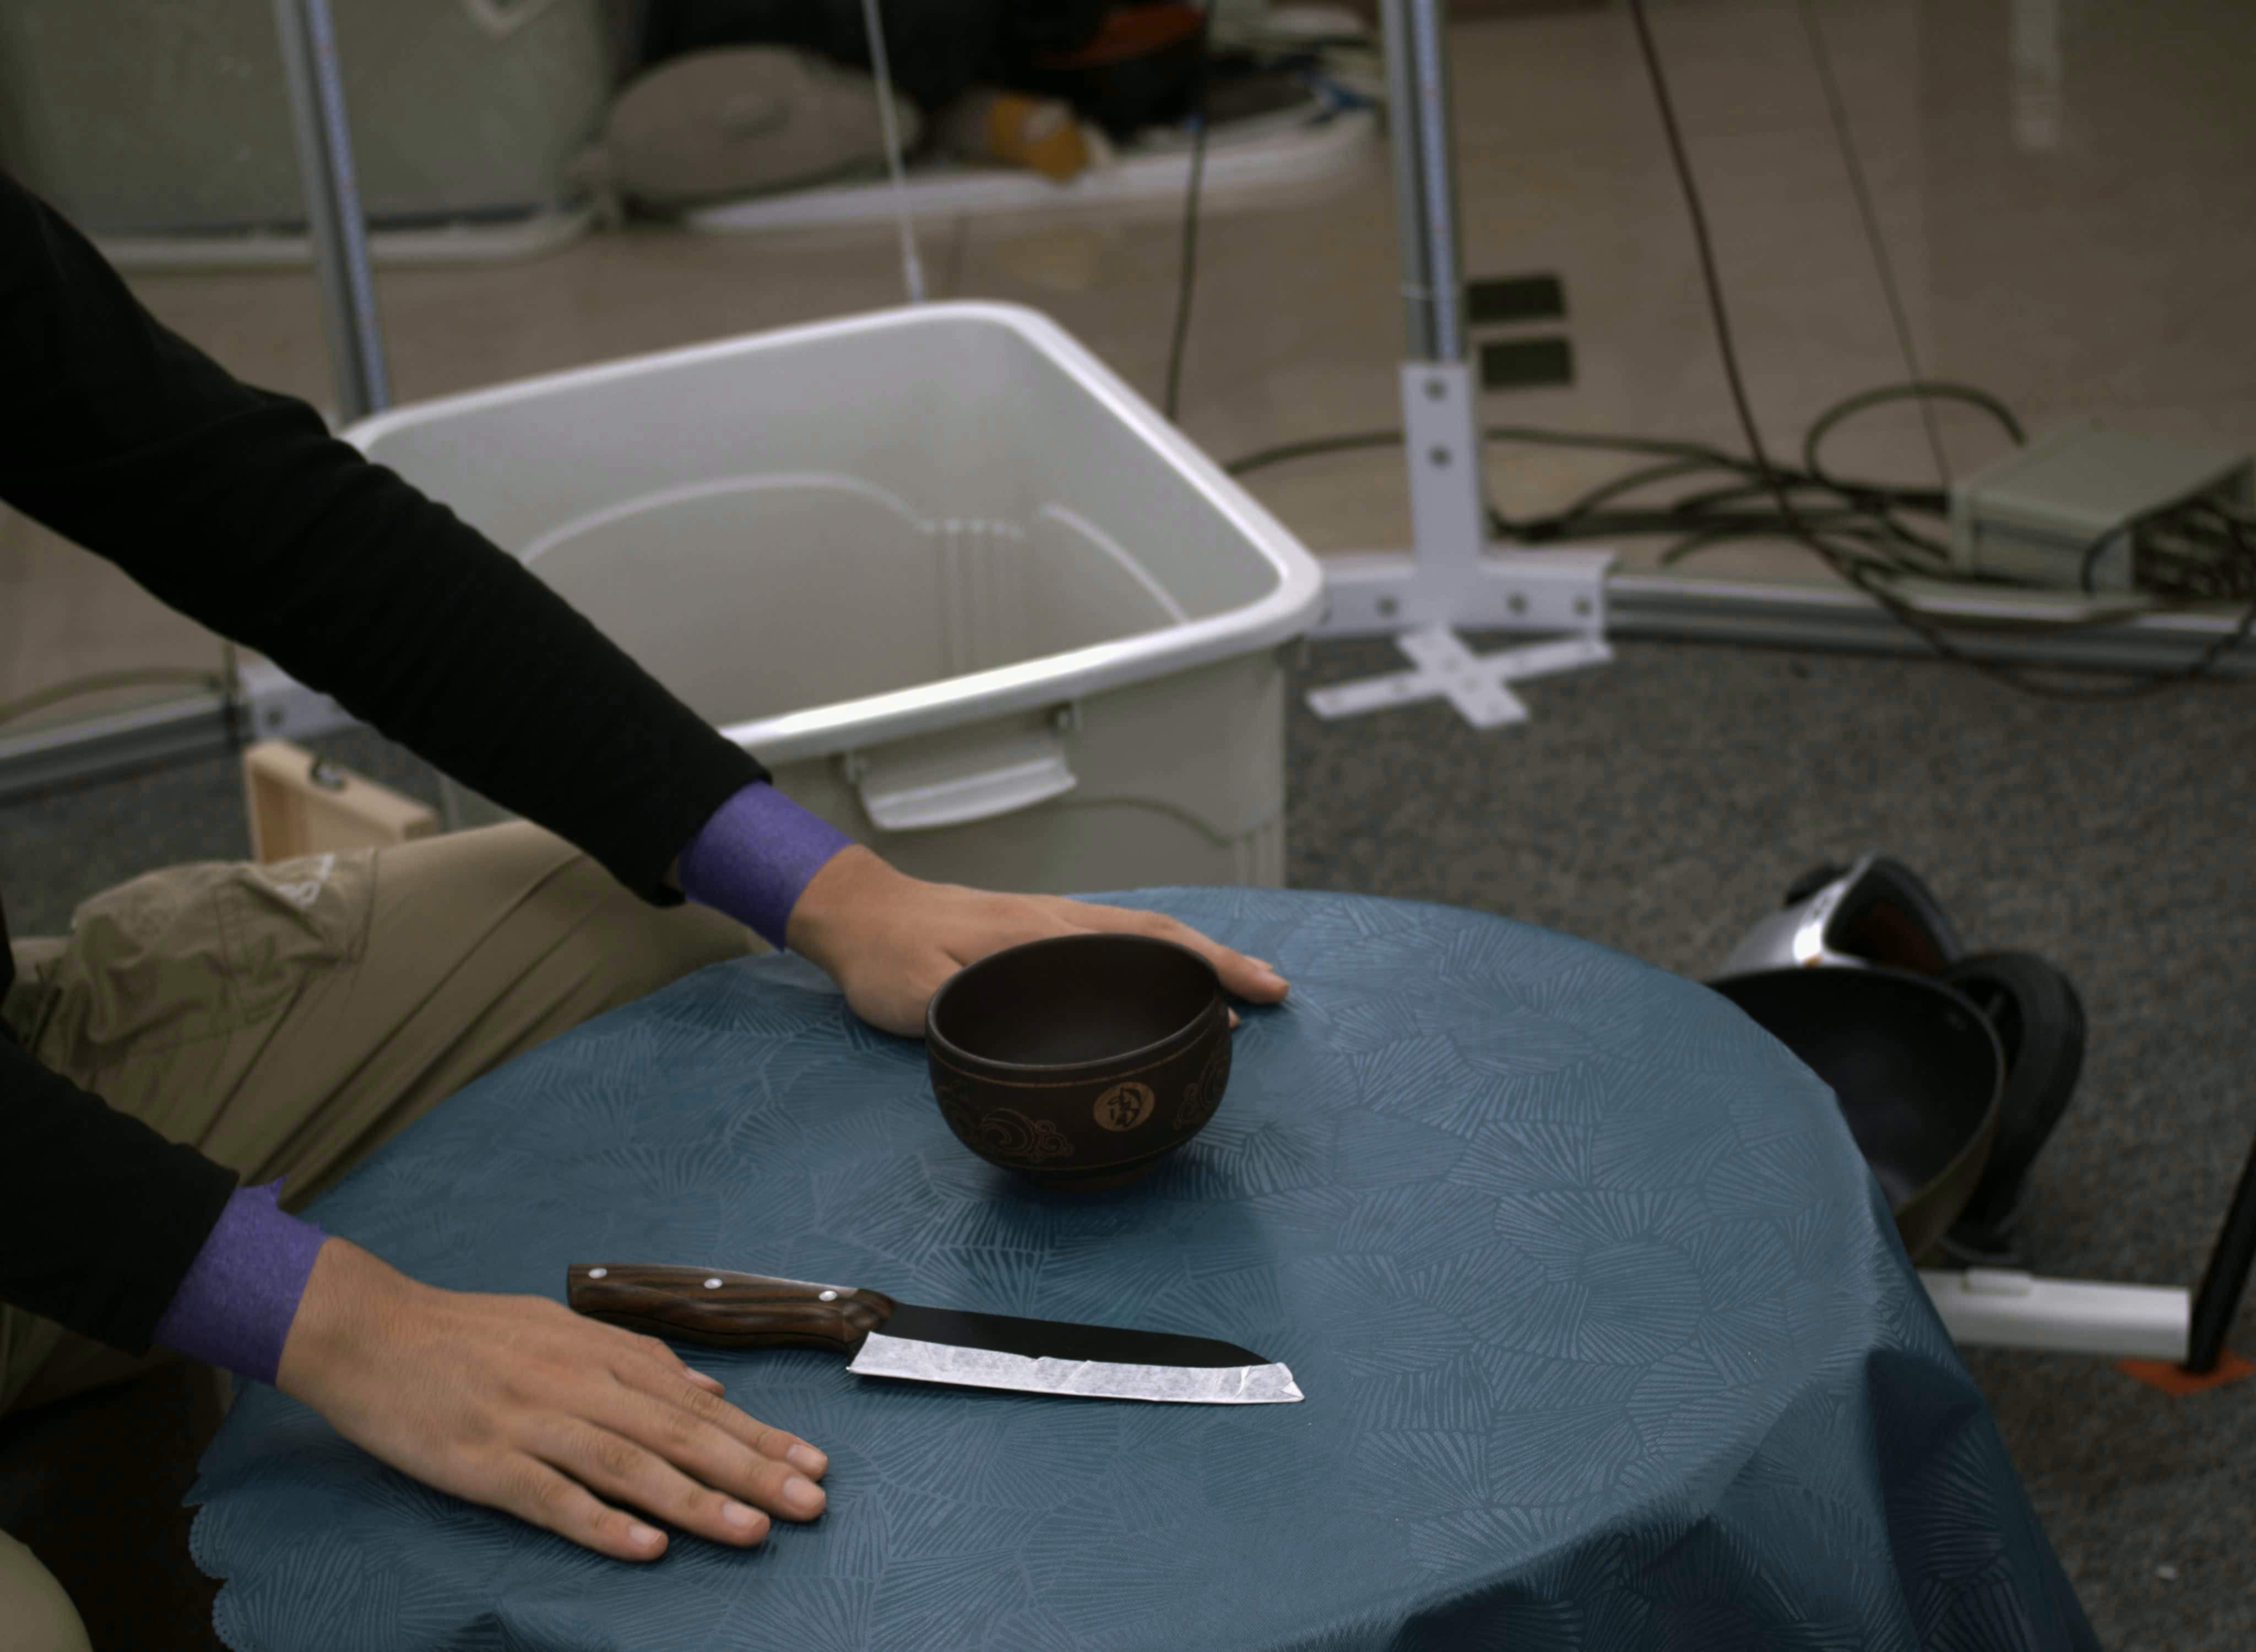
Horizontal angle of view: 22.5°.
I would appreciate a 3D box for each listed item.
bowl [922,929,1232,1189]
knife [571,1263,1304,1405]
[{"bbox_3d":[-0.017,0.095,2.162,0.118,0.071,0.116,-6,25,3],"label":"bowl"},{"bbox_3d":[-0.072,0.185,2.051,0.288,0.020,0.049,6,32,19],"label":"knife"}]
